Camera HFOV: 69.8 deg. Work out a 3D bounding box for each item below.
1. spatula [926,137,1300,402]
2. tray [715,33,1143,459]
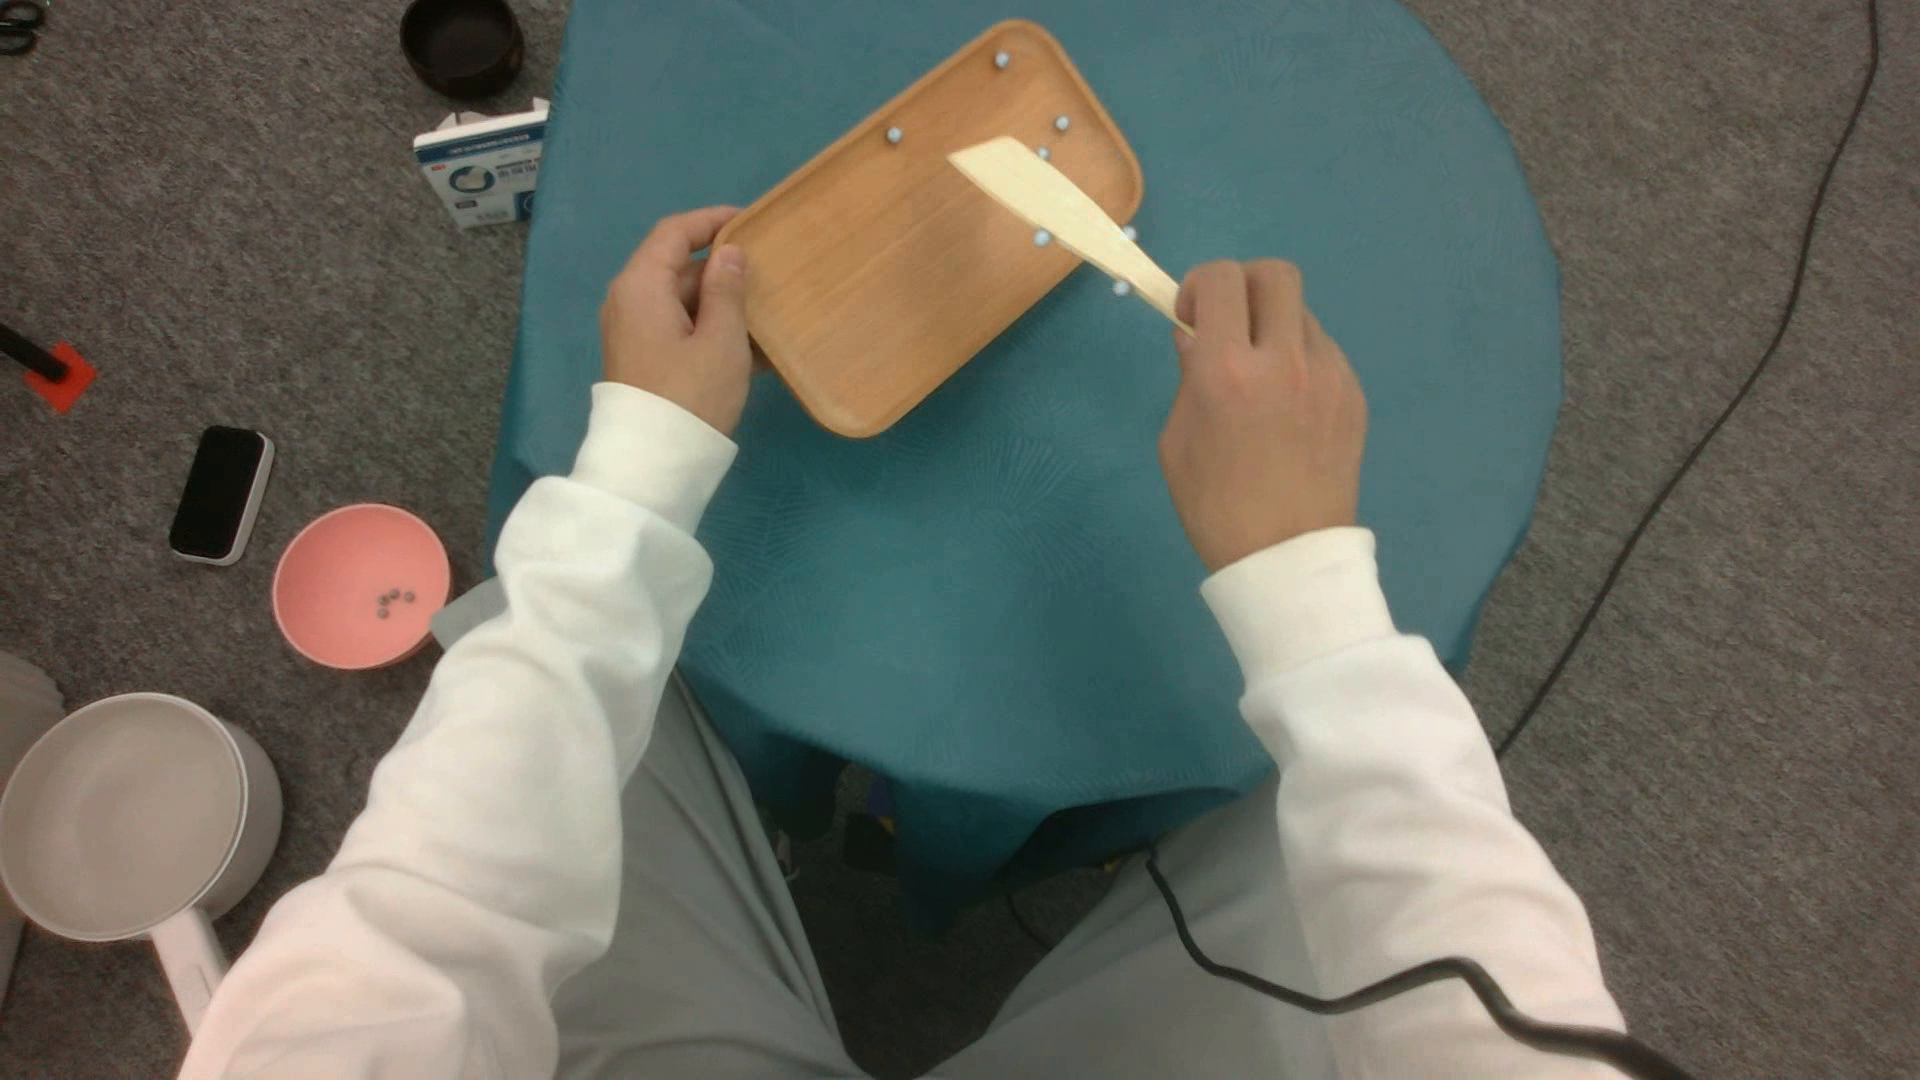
[{"bbox_3d":[0.074,-0.129,0.652,0.208,0.005,0.051,39,50,14],"label":"spatula"},{"bbox_3d":[-0.010,-0.159,0.733,0.251,0.023,0.130,-44,101,-21],"label":"tray"}]
